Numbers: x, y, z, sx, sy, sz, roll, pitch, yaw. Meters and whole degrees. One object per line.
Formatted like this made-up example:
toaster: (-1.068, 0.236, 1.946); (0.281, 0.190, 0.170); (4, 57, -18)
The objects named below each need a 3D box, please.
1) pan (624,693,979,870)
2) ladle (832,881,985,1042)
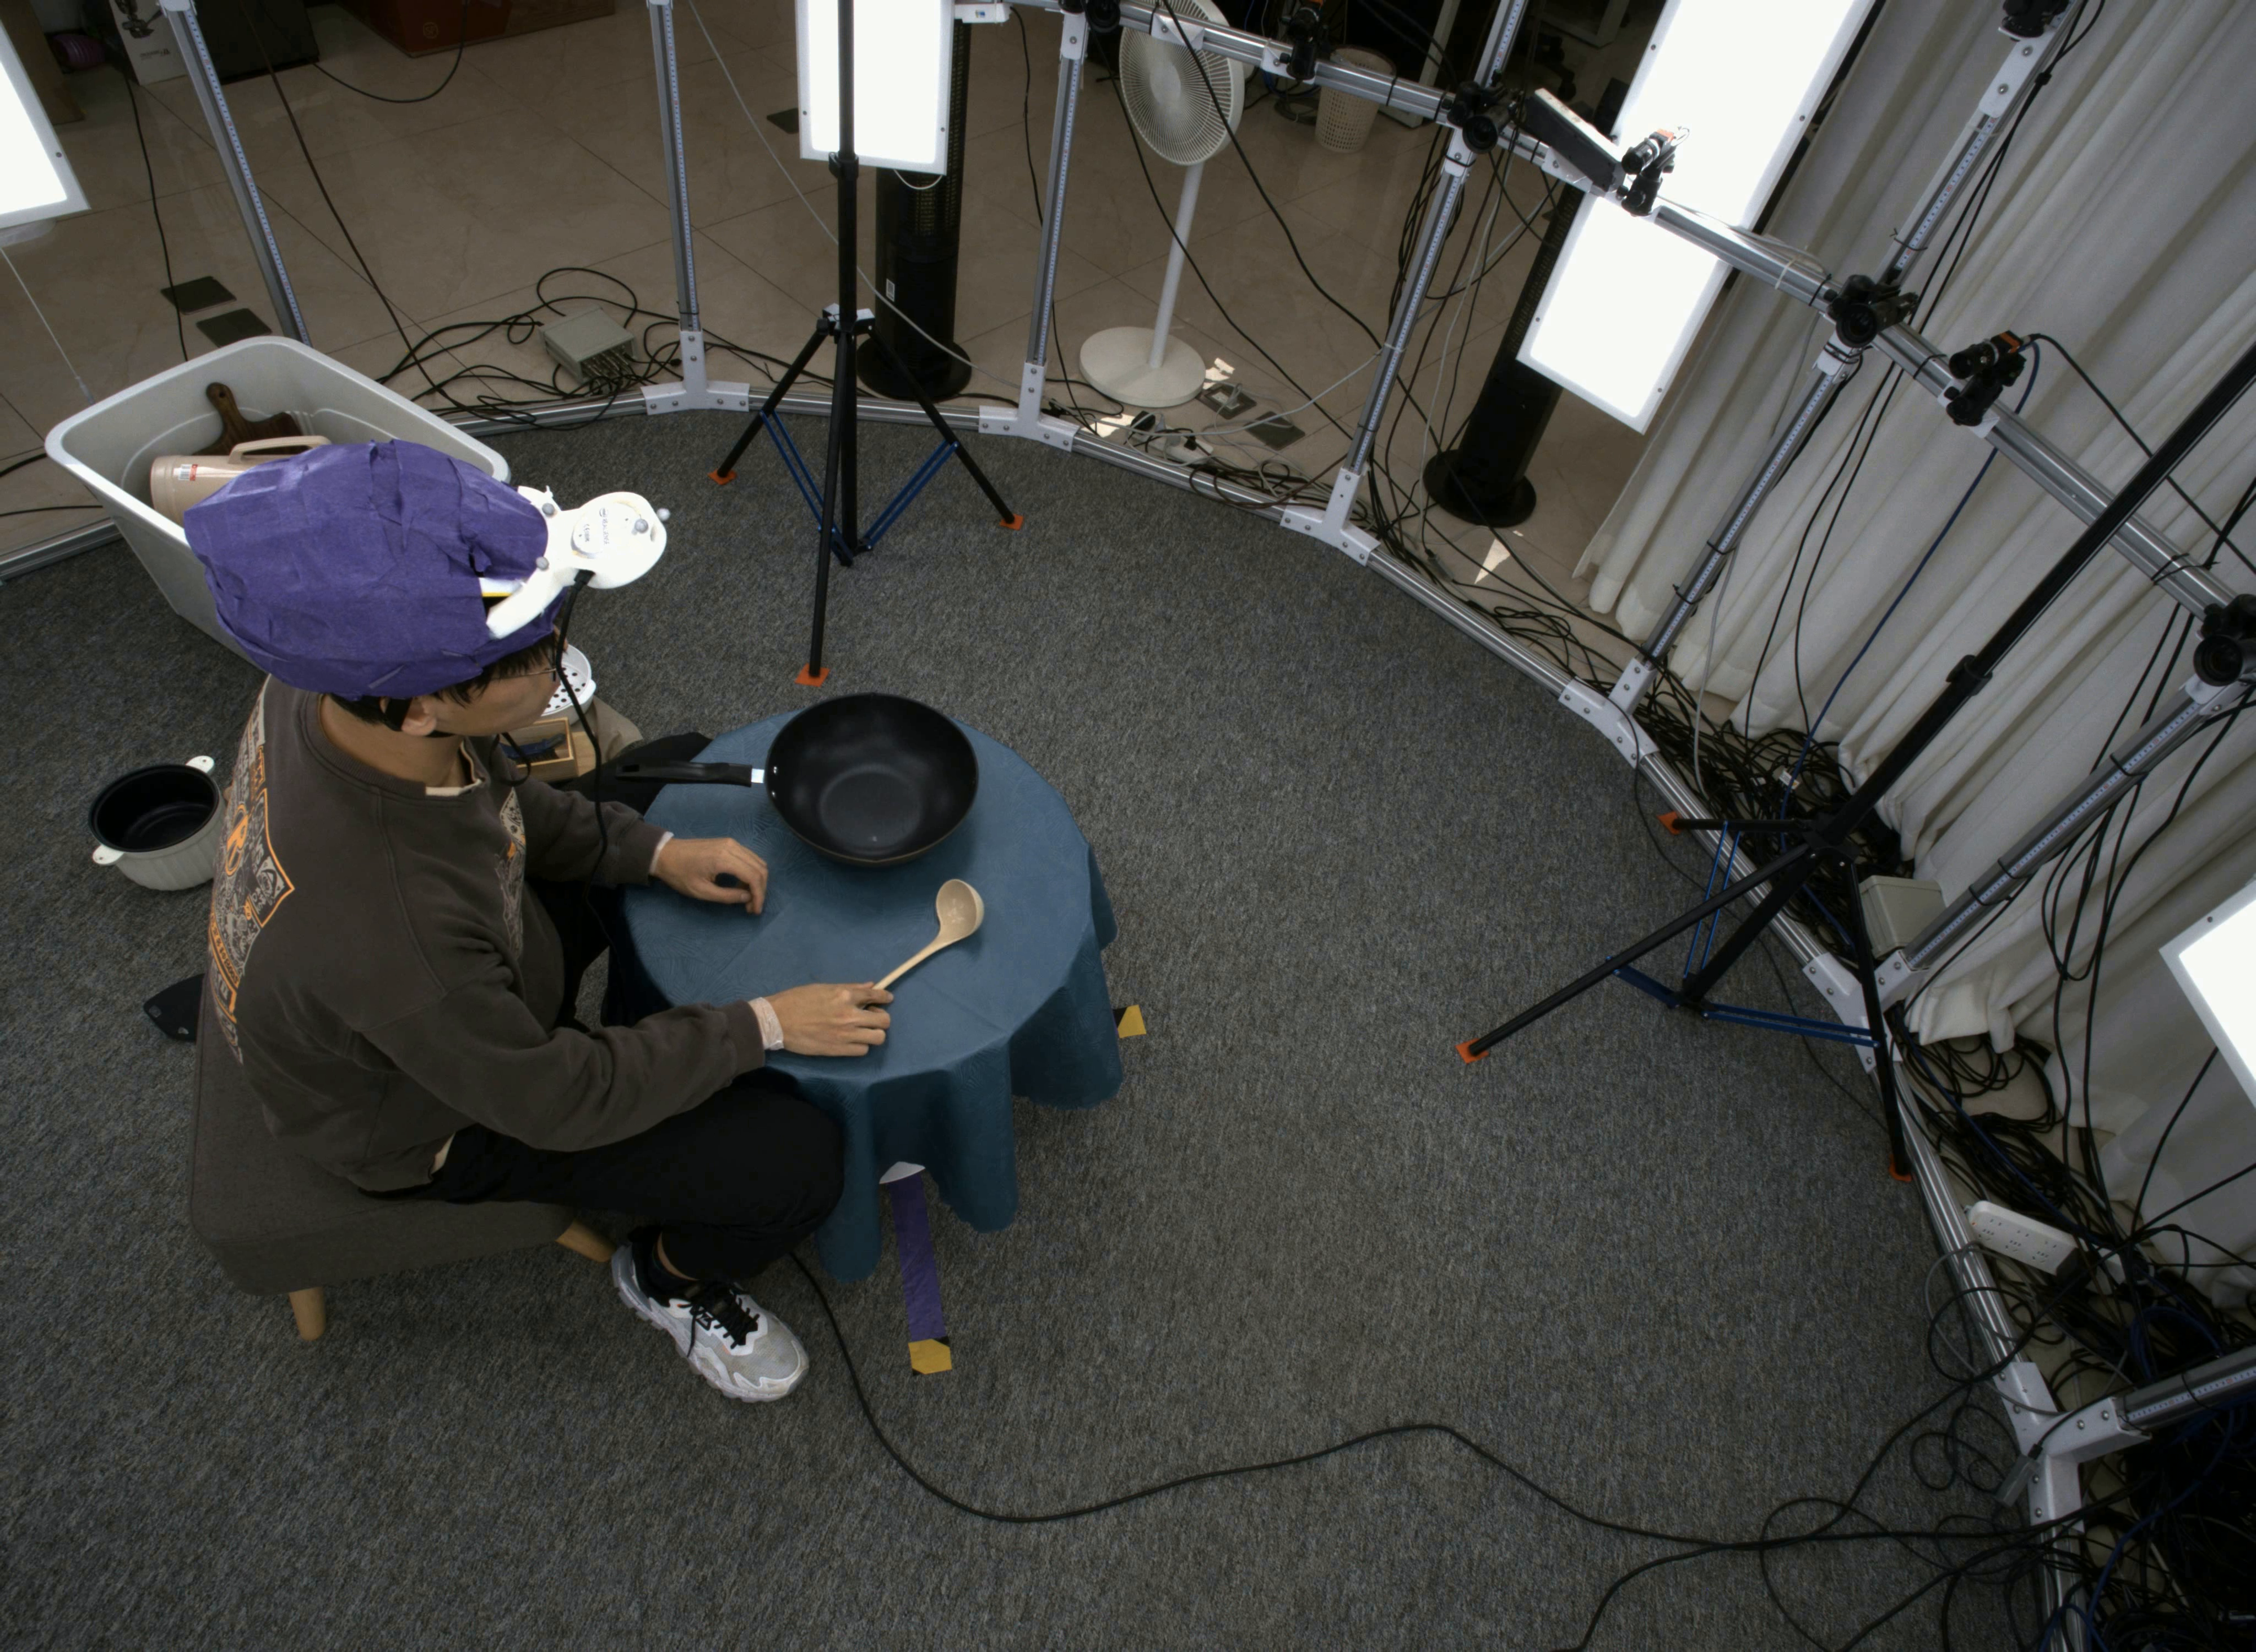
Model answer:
pan: (-0.428, -0.046, 1.719); (0.463, 0.089, 0.282); (0, 55, -12)
ladle: (-0.277, 0.160, 1.609); (0.070, 0.075, 0.254); (29, 51, 24)
